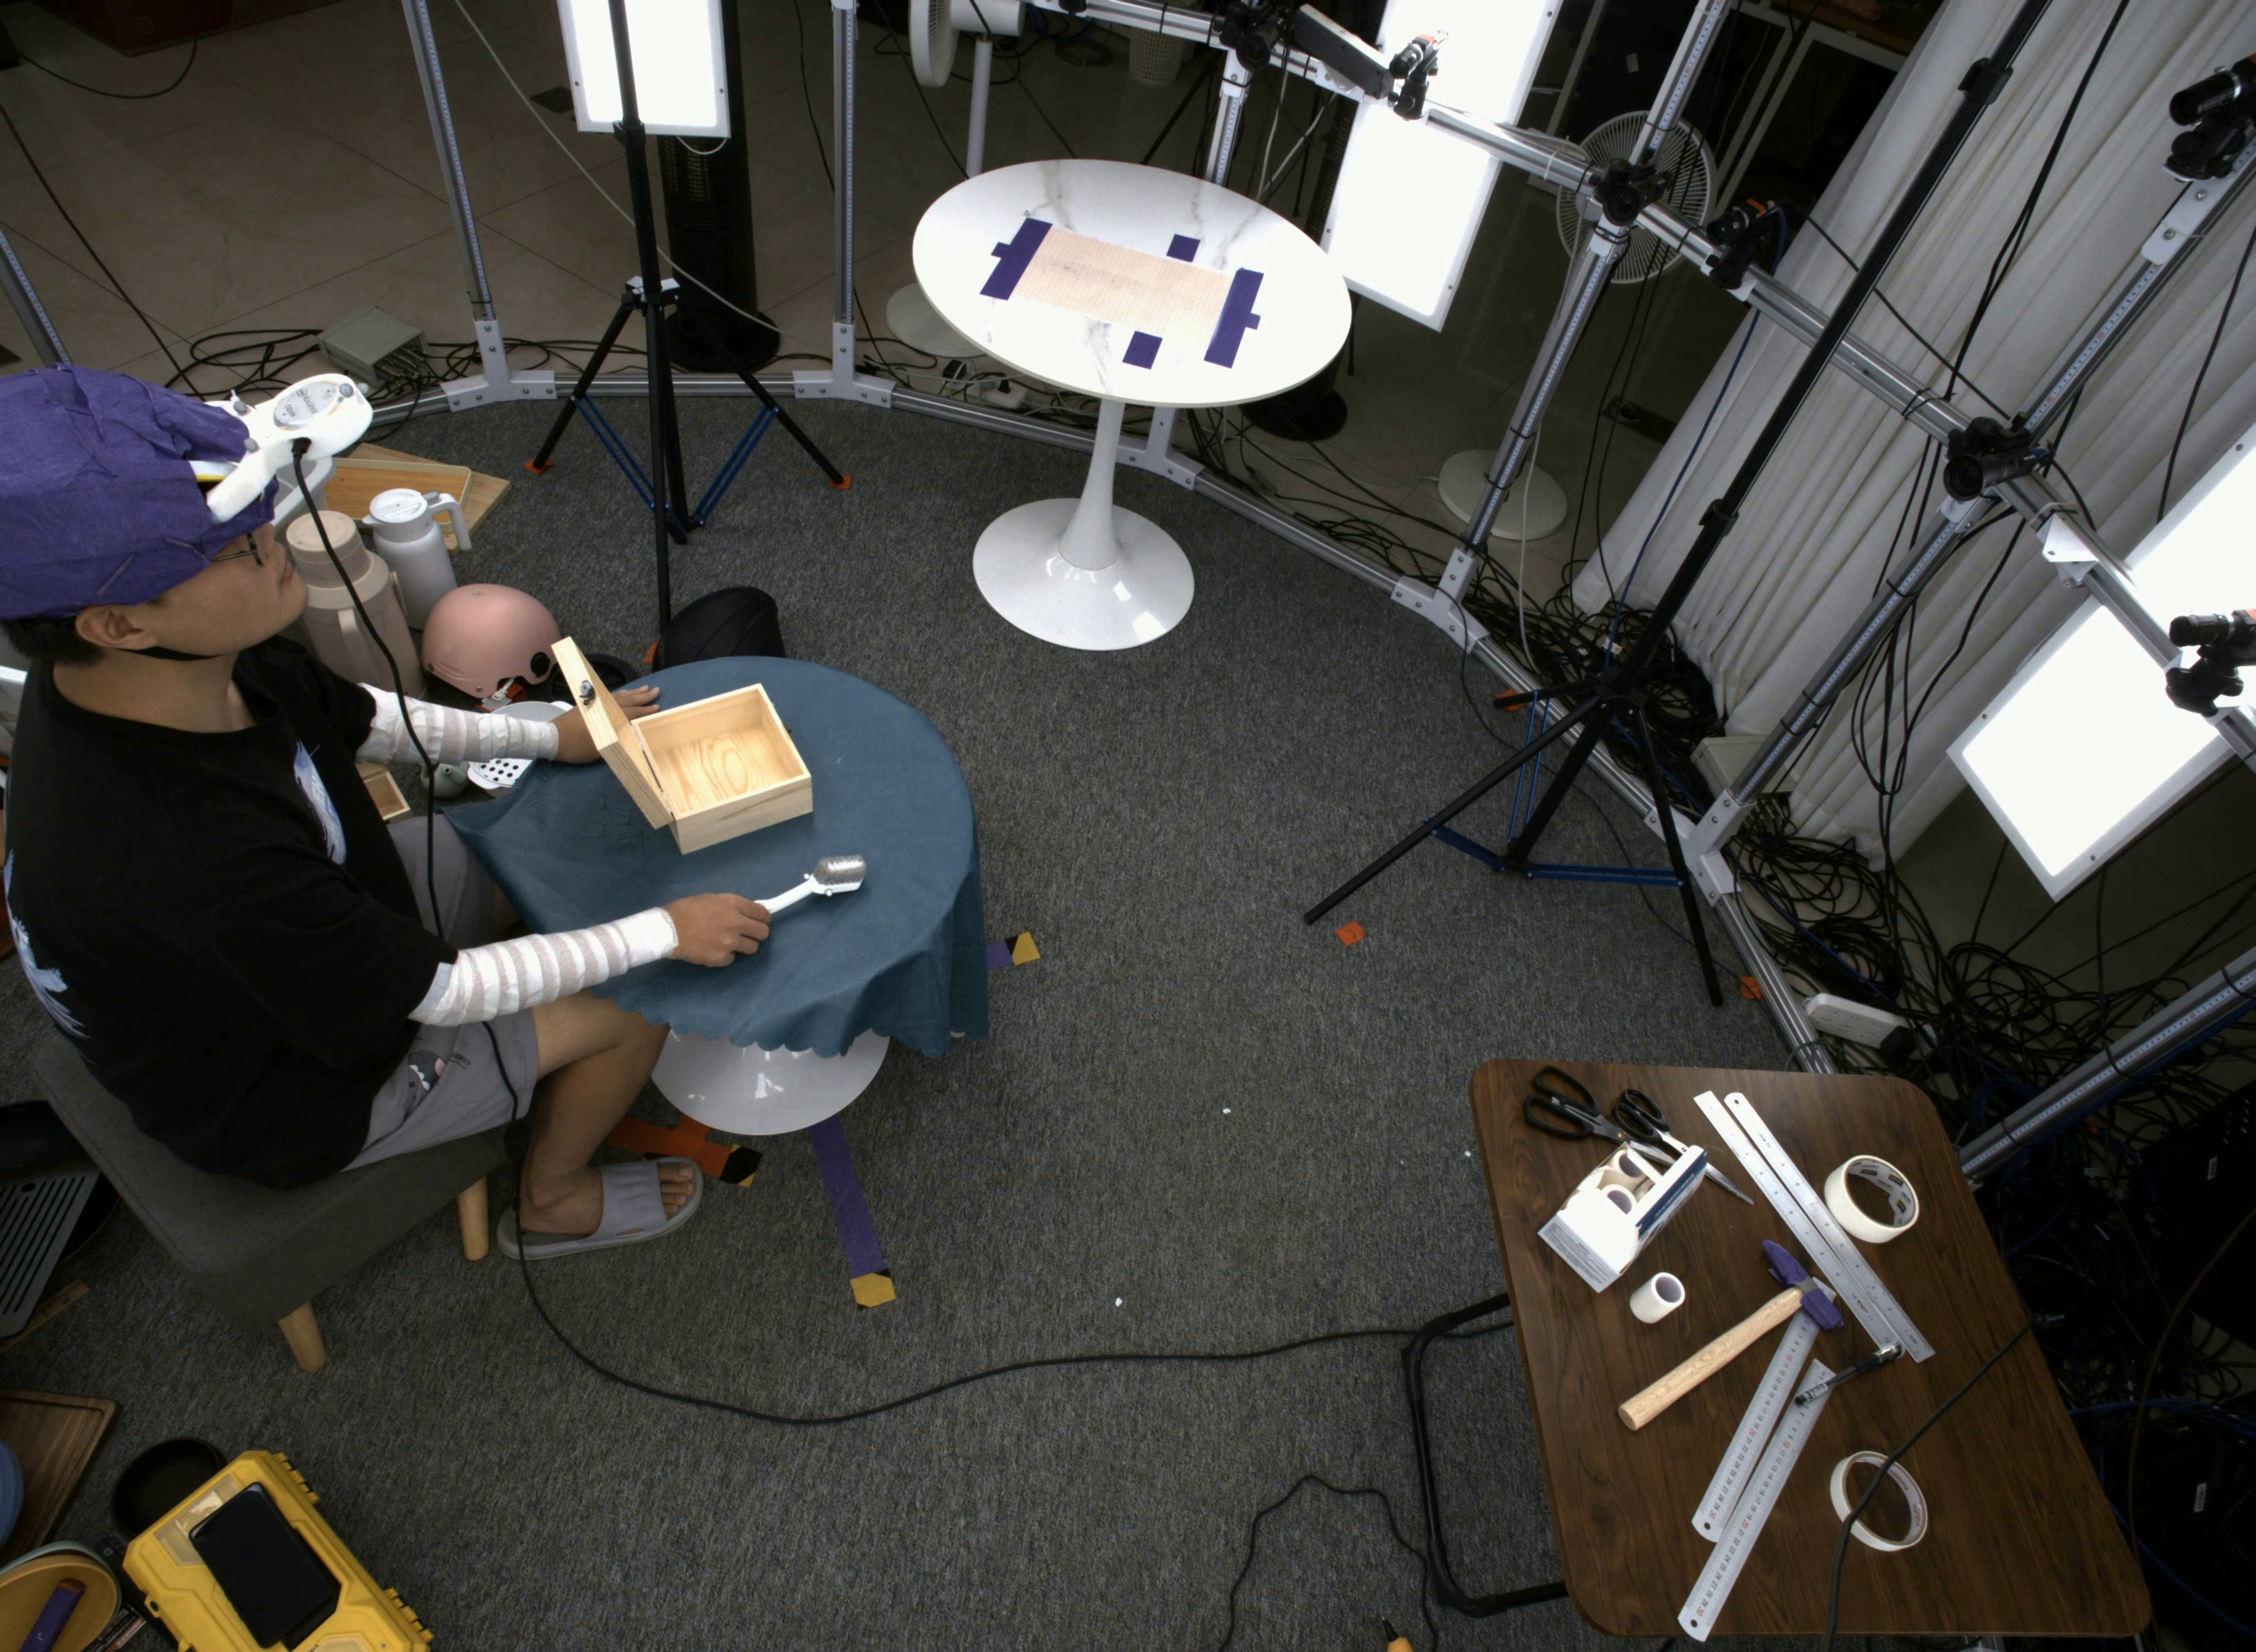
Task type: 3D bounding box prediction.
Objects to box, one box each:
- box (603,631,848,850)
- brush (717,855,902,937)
[{"bbox_3d":[-0.510,-0.129,1.649,0.266,0.258,0.177,-20,61,-25],"label":"box"},{"bbox_3d":[-0.400,0.082,1.635,0.245,0.051,0.033,-17,51,-31],"label":"brush"}]
